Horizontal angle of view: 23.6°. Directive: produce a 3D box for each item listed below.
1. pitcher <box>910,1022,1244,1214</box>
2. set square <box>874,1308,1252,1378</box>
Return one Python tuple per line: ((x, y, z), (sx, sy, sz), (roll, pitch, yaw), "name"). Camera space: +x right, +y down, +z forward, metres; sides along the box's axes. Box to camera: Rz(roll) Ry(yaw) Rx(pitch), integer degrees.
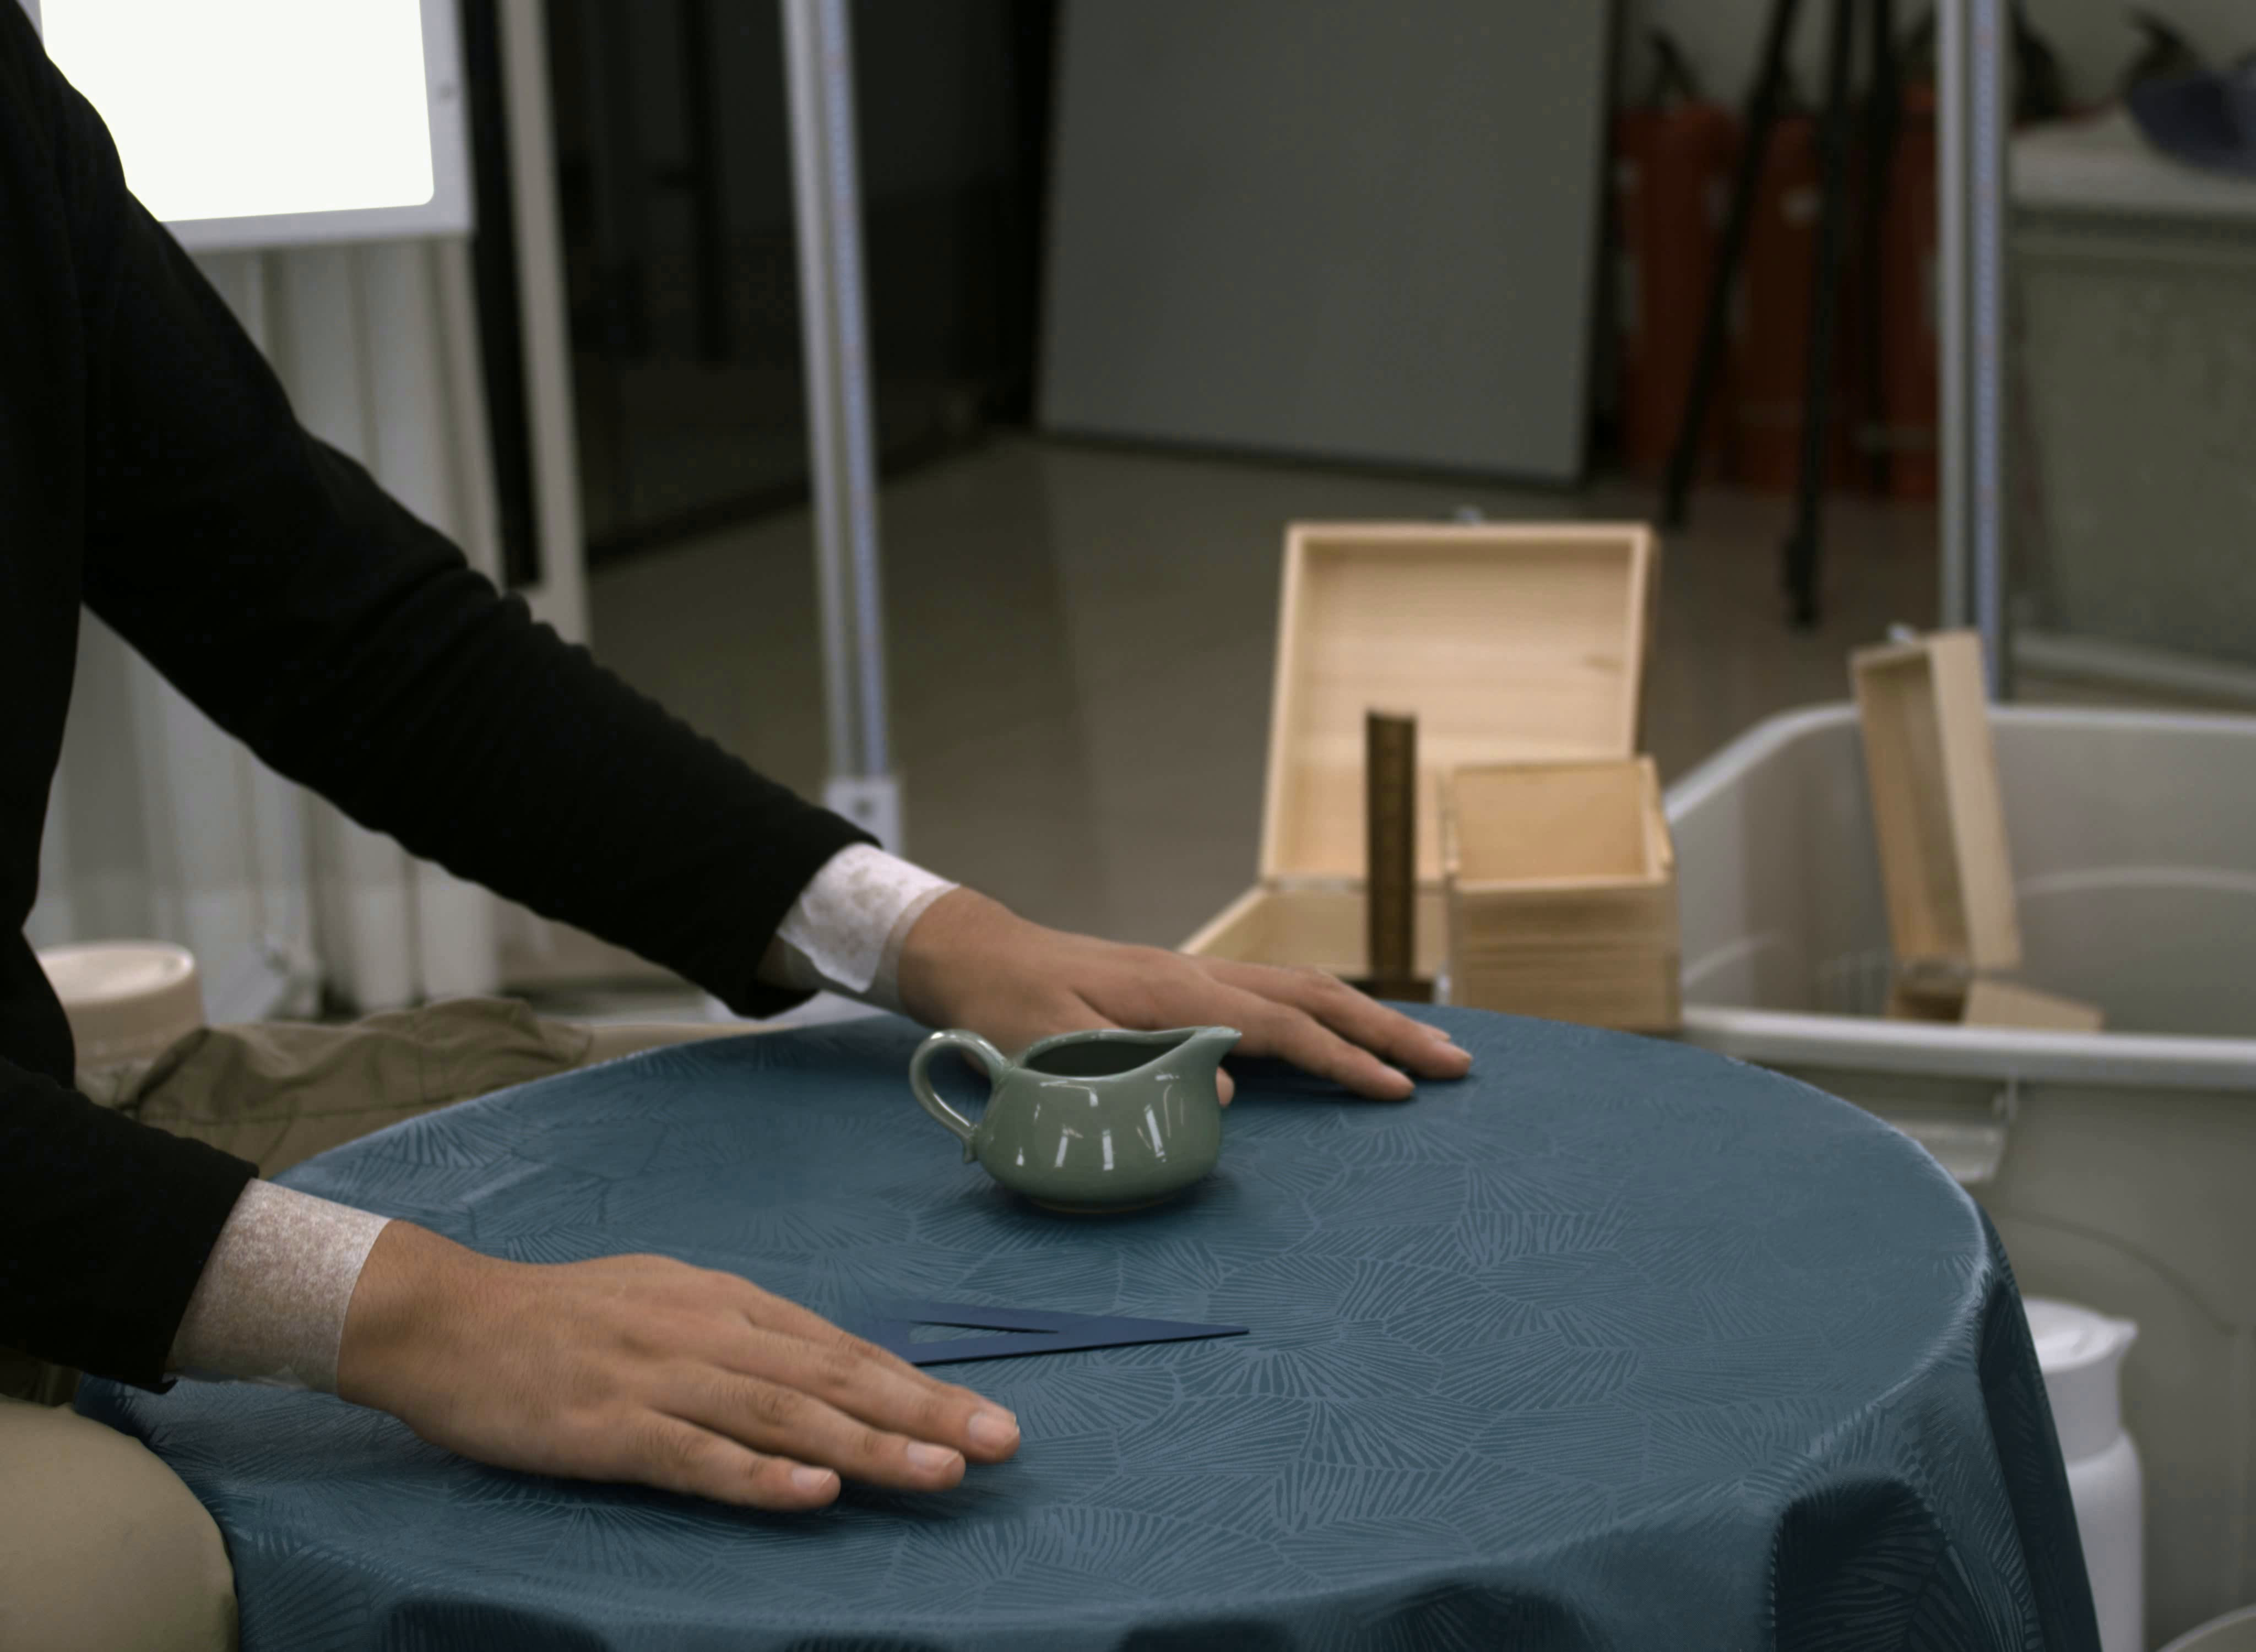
((-0.016, 0.094, 1.768), (0.112, 0.057, 0.084), (-2, 11, 9), "pitcher")
((-0.030, 0.158, 1.620), (0.132, 0.006, 0.060), (3, 15, 28), "set square")
